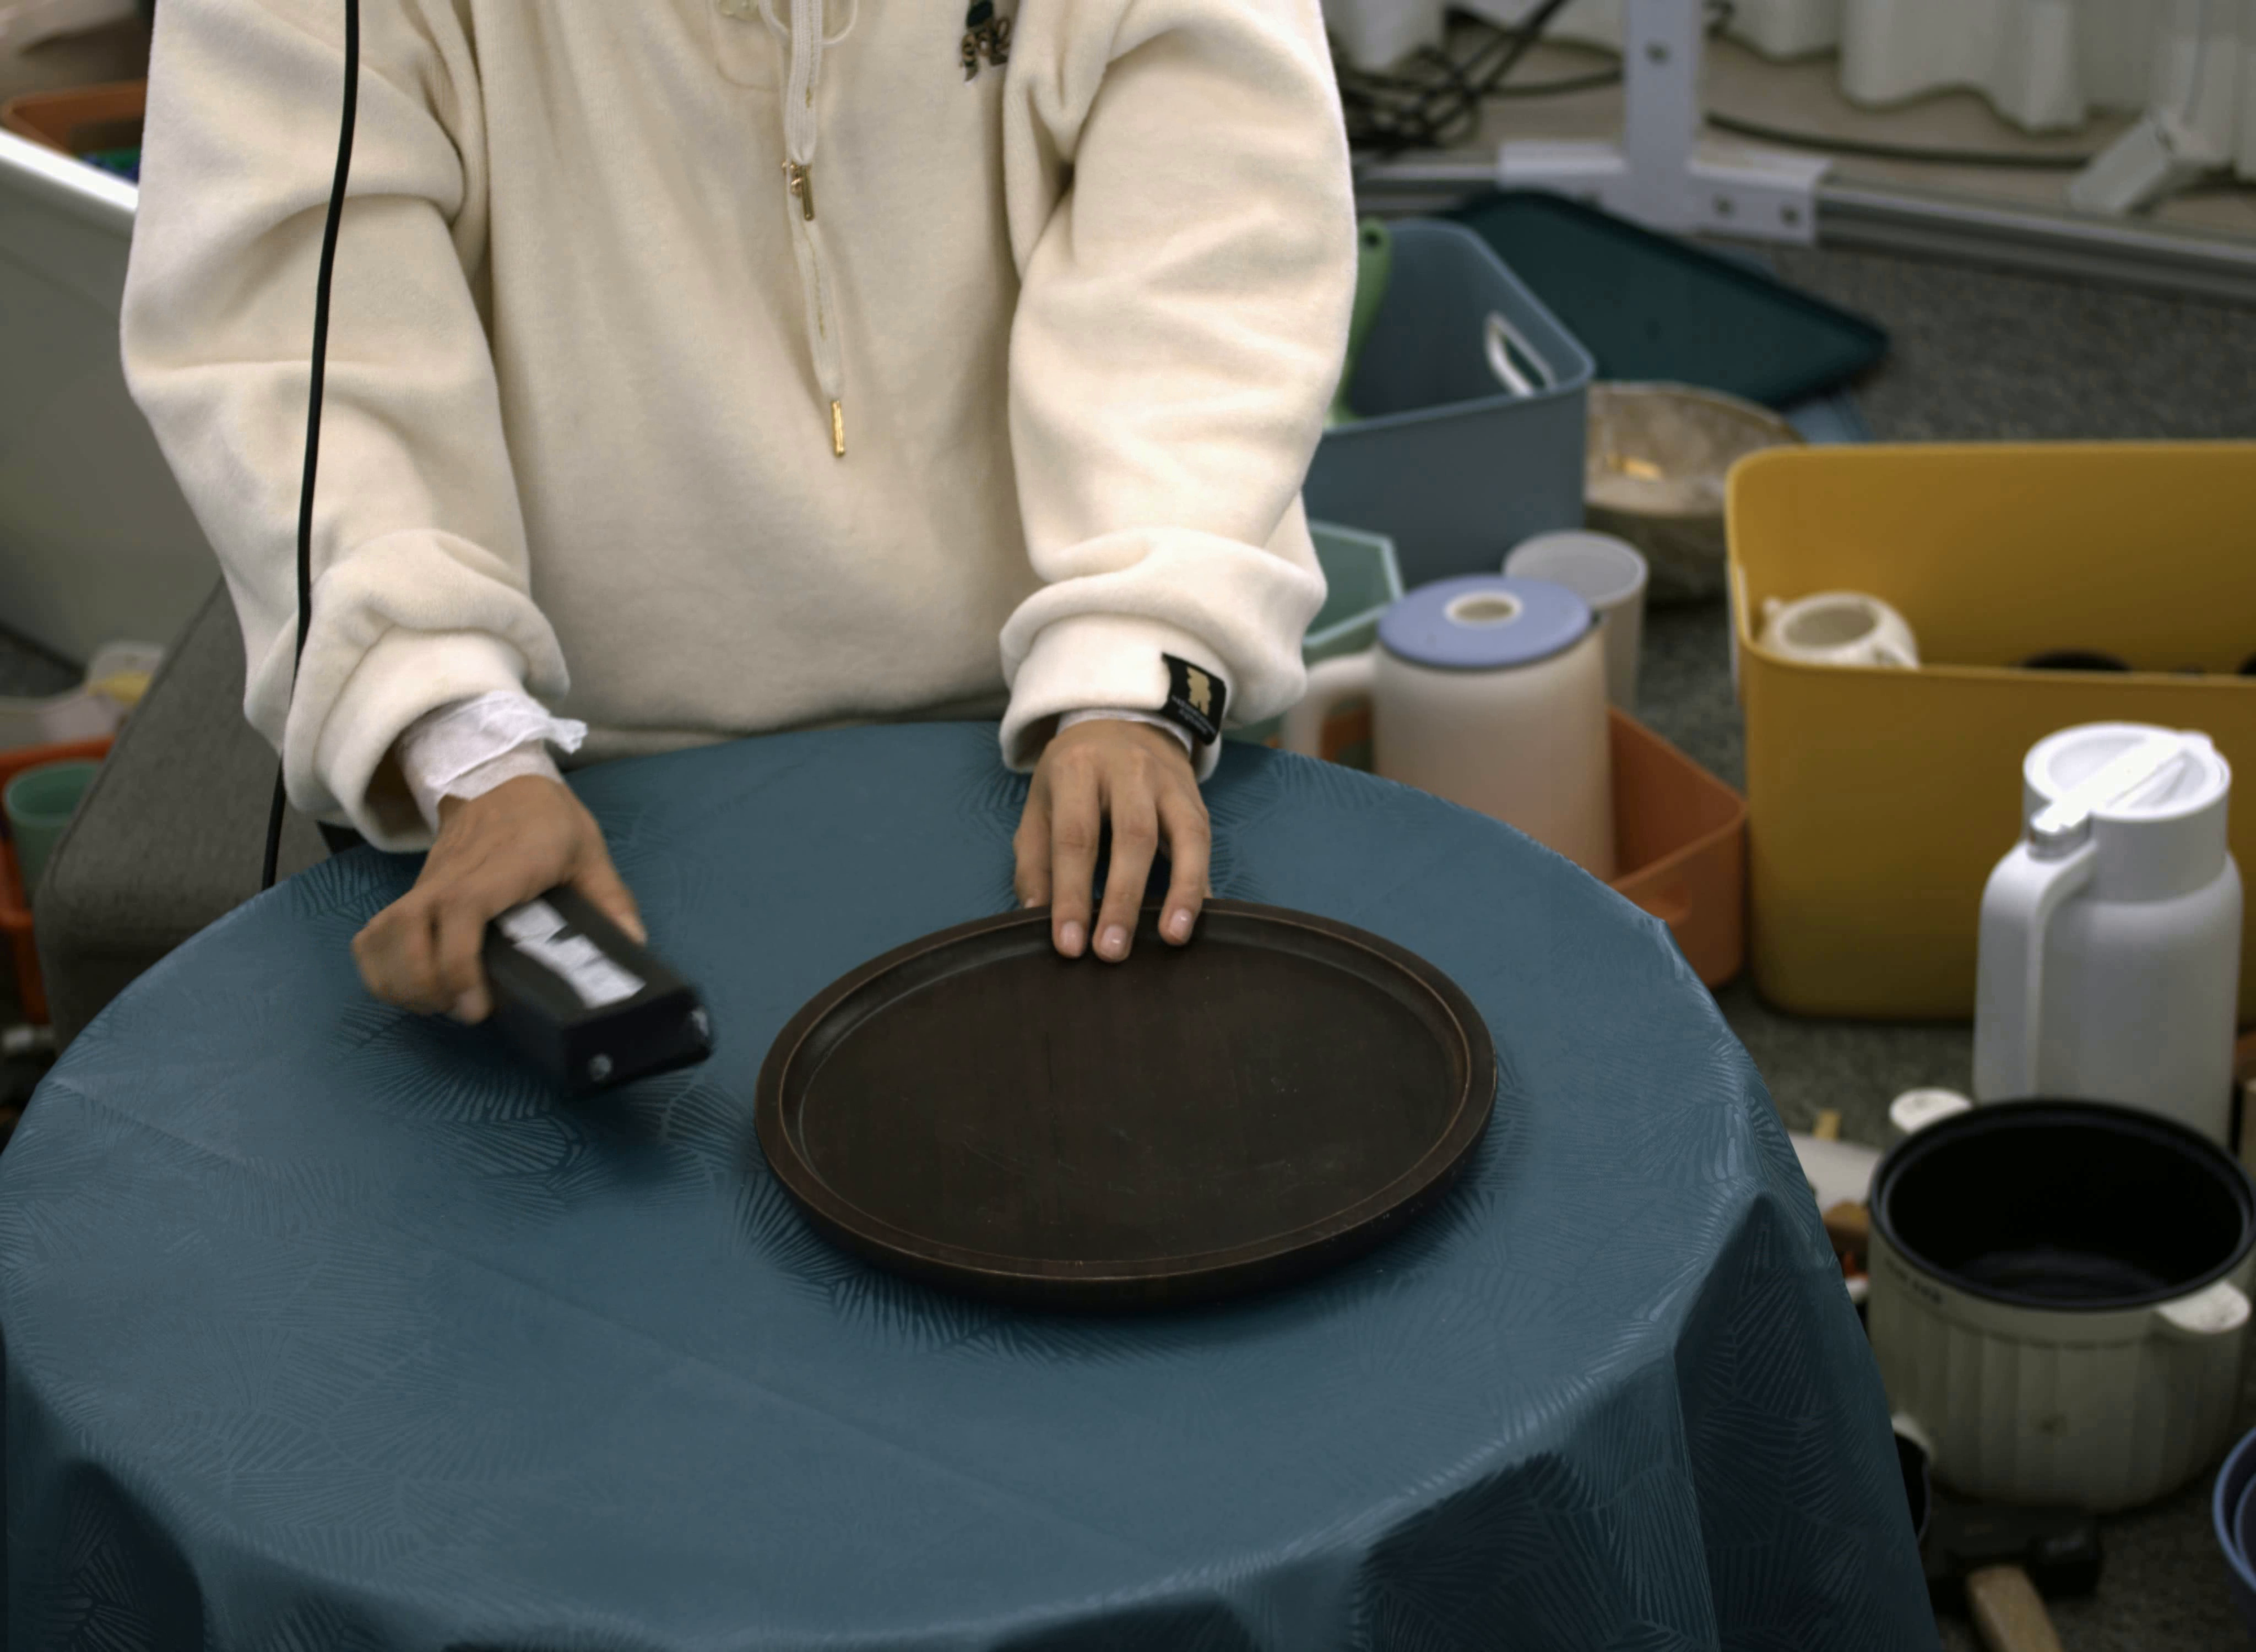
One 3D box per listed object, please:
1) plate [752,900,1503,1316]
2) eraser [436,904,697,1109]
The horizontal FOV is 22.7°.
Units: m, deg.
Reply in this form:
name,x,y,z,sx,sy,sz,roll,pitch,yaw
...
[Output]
name,x,y,z,sx,sy,sz,roll,pitch,yaw
plate,0.000,0.092,1.891,0.253,0.029,0.259,-2,29,1
eraser,-0.192,0.061,1.928,0.054,0.030,0.126,-15,21,-21
